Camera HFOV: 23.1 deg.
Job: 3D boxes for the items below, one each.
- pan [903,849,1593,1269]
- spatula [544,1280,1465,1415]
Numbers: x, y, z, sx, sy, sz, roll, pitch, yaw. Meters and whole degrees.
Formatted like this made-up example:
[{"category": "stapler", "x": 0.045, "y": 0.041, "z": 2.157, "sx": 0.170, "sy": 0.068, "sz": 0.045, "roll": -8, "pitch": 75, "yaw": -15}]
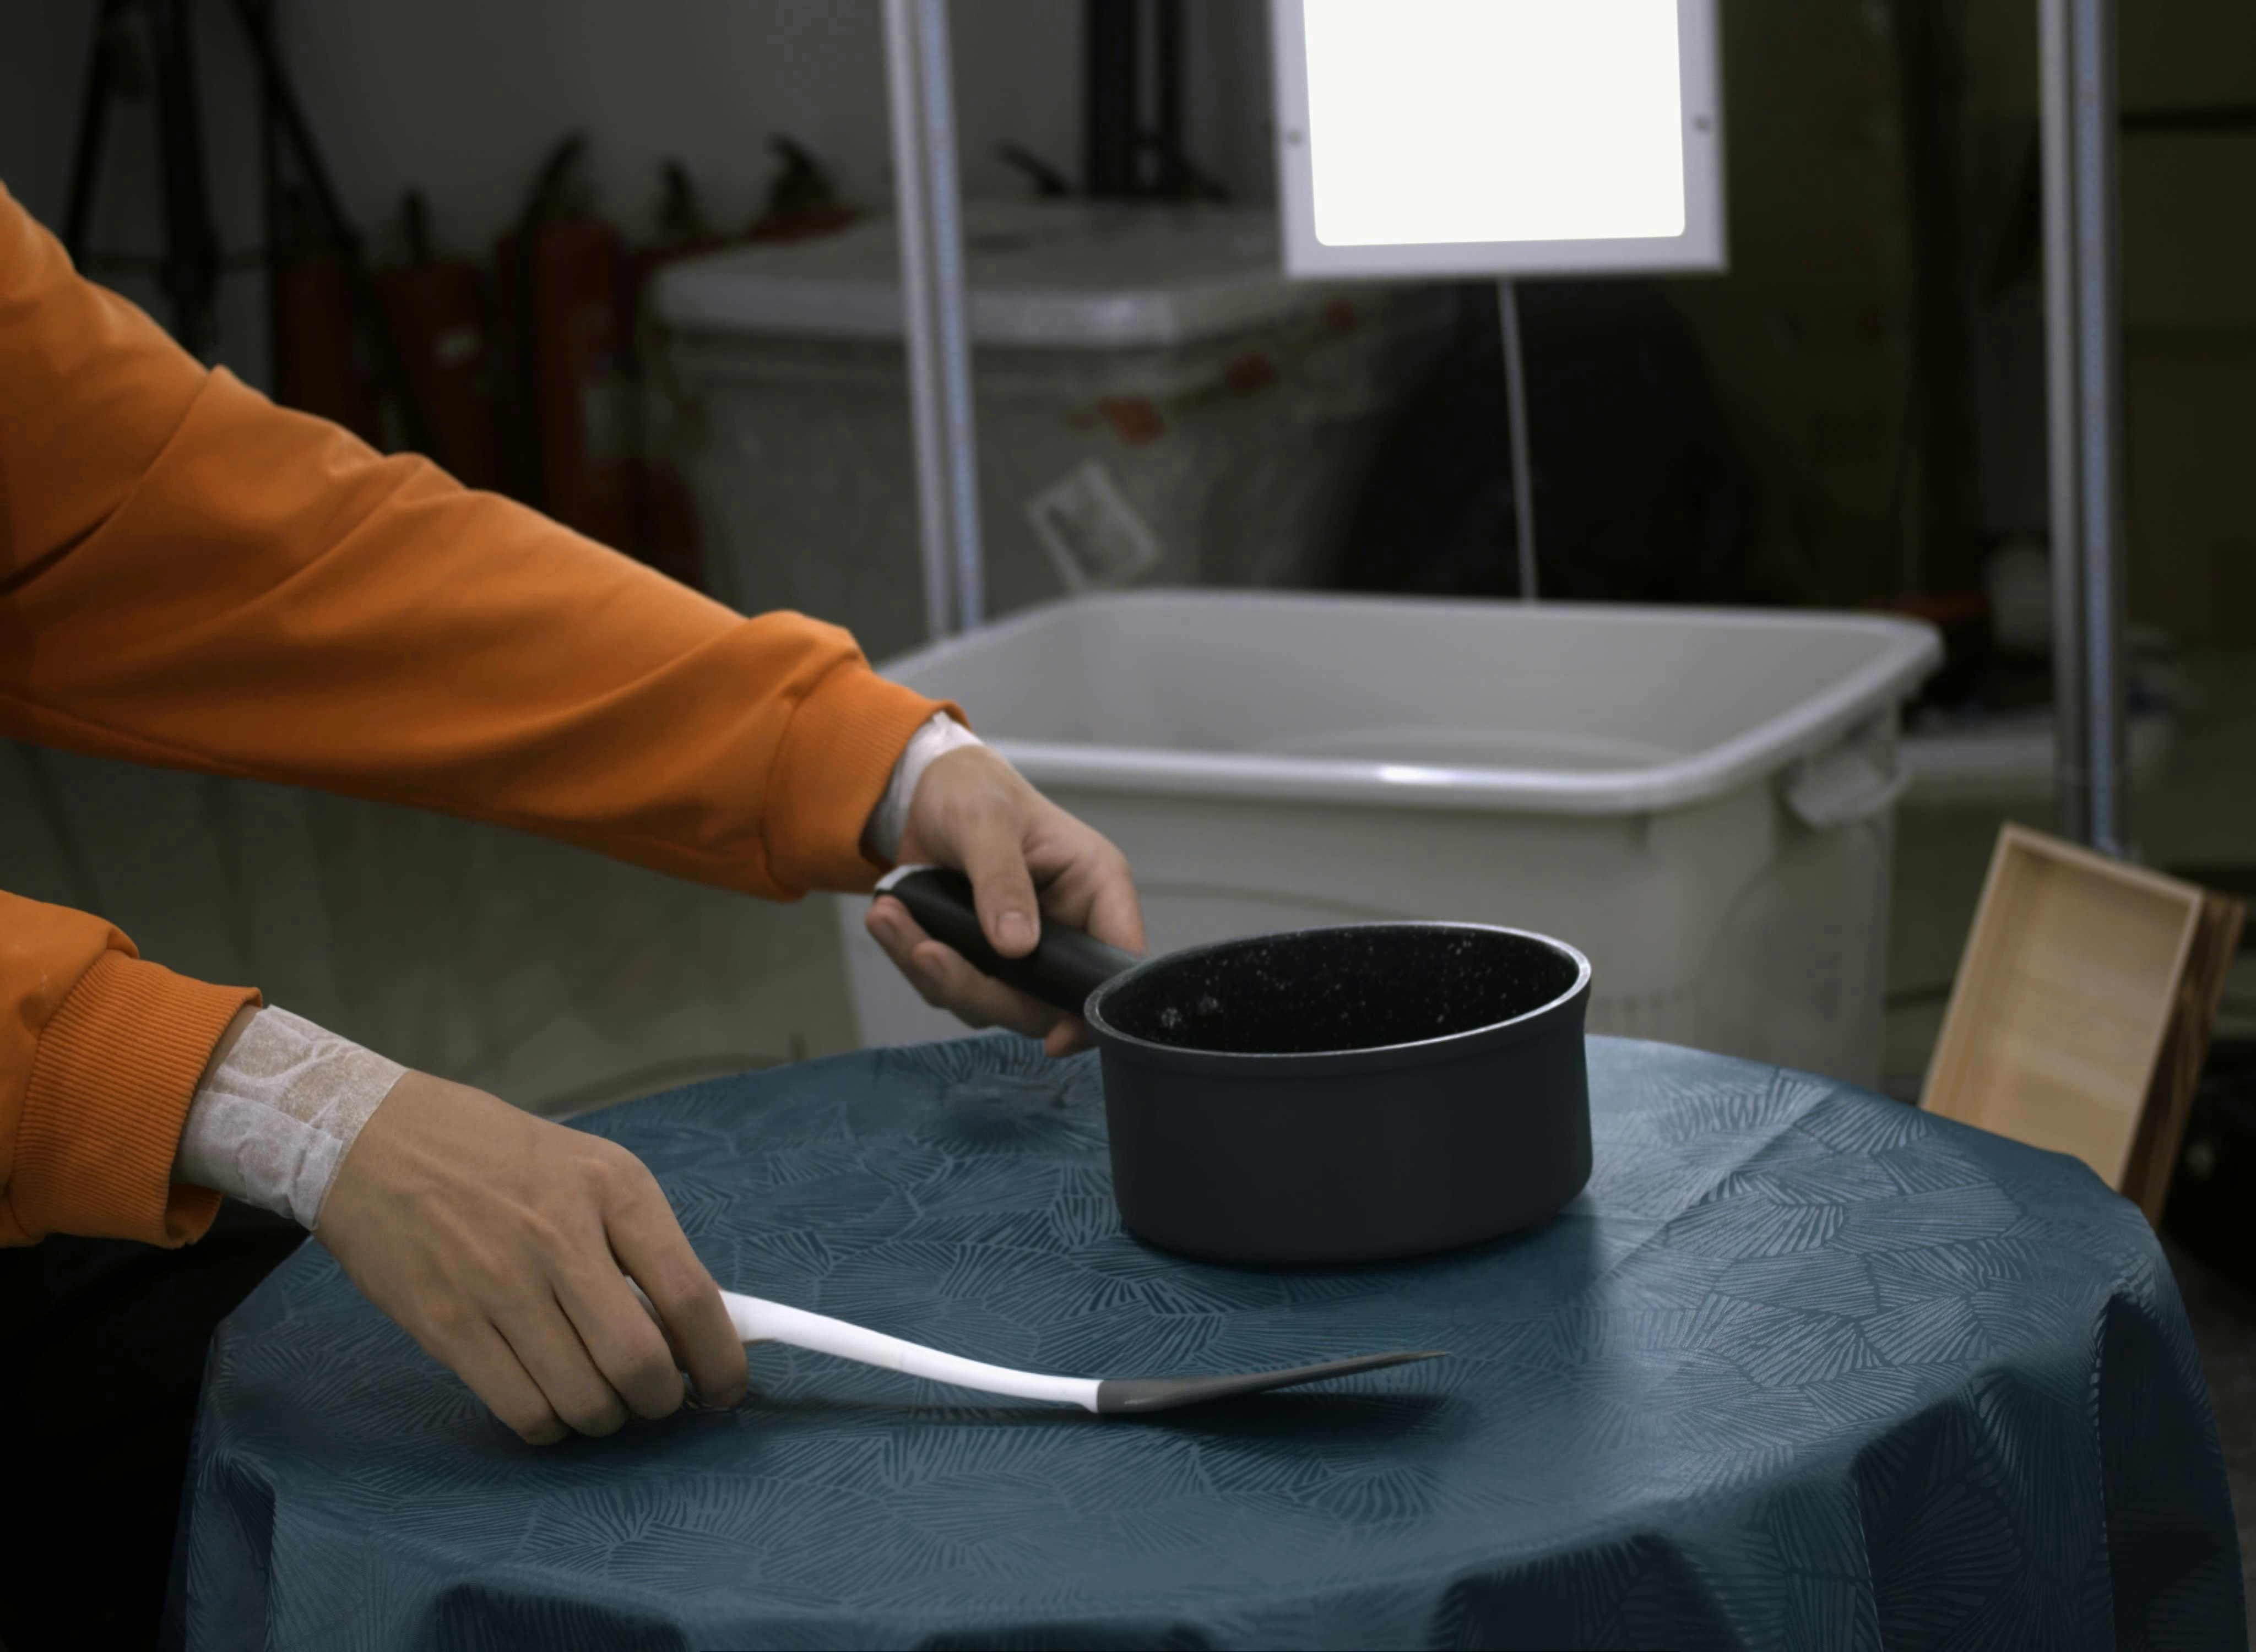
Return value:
[{"category": "pan", "x": 0.025, "y": 0.076, "z": 1.919, "sx": 0.168, "sy": 0.087, "sz": 0.335, "roll": -13, "pitch": 16, "yaw": -33}, {"category": "spatula", "x": -0.040, "y": 0.162, "z": 1.690, "sx": 0.291, "sy": 0.032, "sz": 0.058, "roll": 1, "pitch": -7, "yaw": 18}]
